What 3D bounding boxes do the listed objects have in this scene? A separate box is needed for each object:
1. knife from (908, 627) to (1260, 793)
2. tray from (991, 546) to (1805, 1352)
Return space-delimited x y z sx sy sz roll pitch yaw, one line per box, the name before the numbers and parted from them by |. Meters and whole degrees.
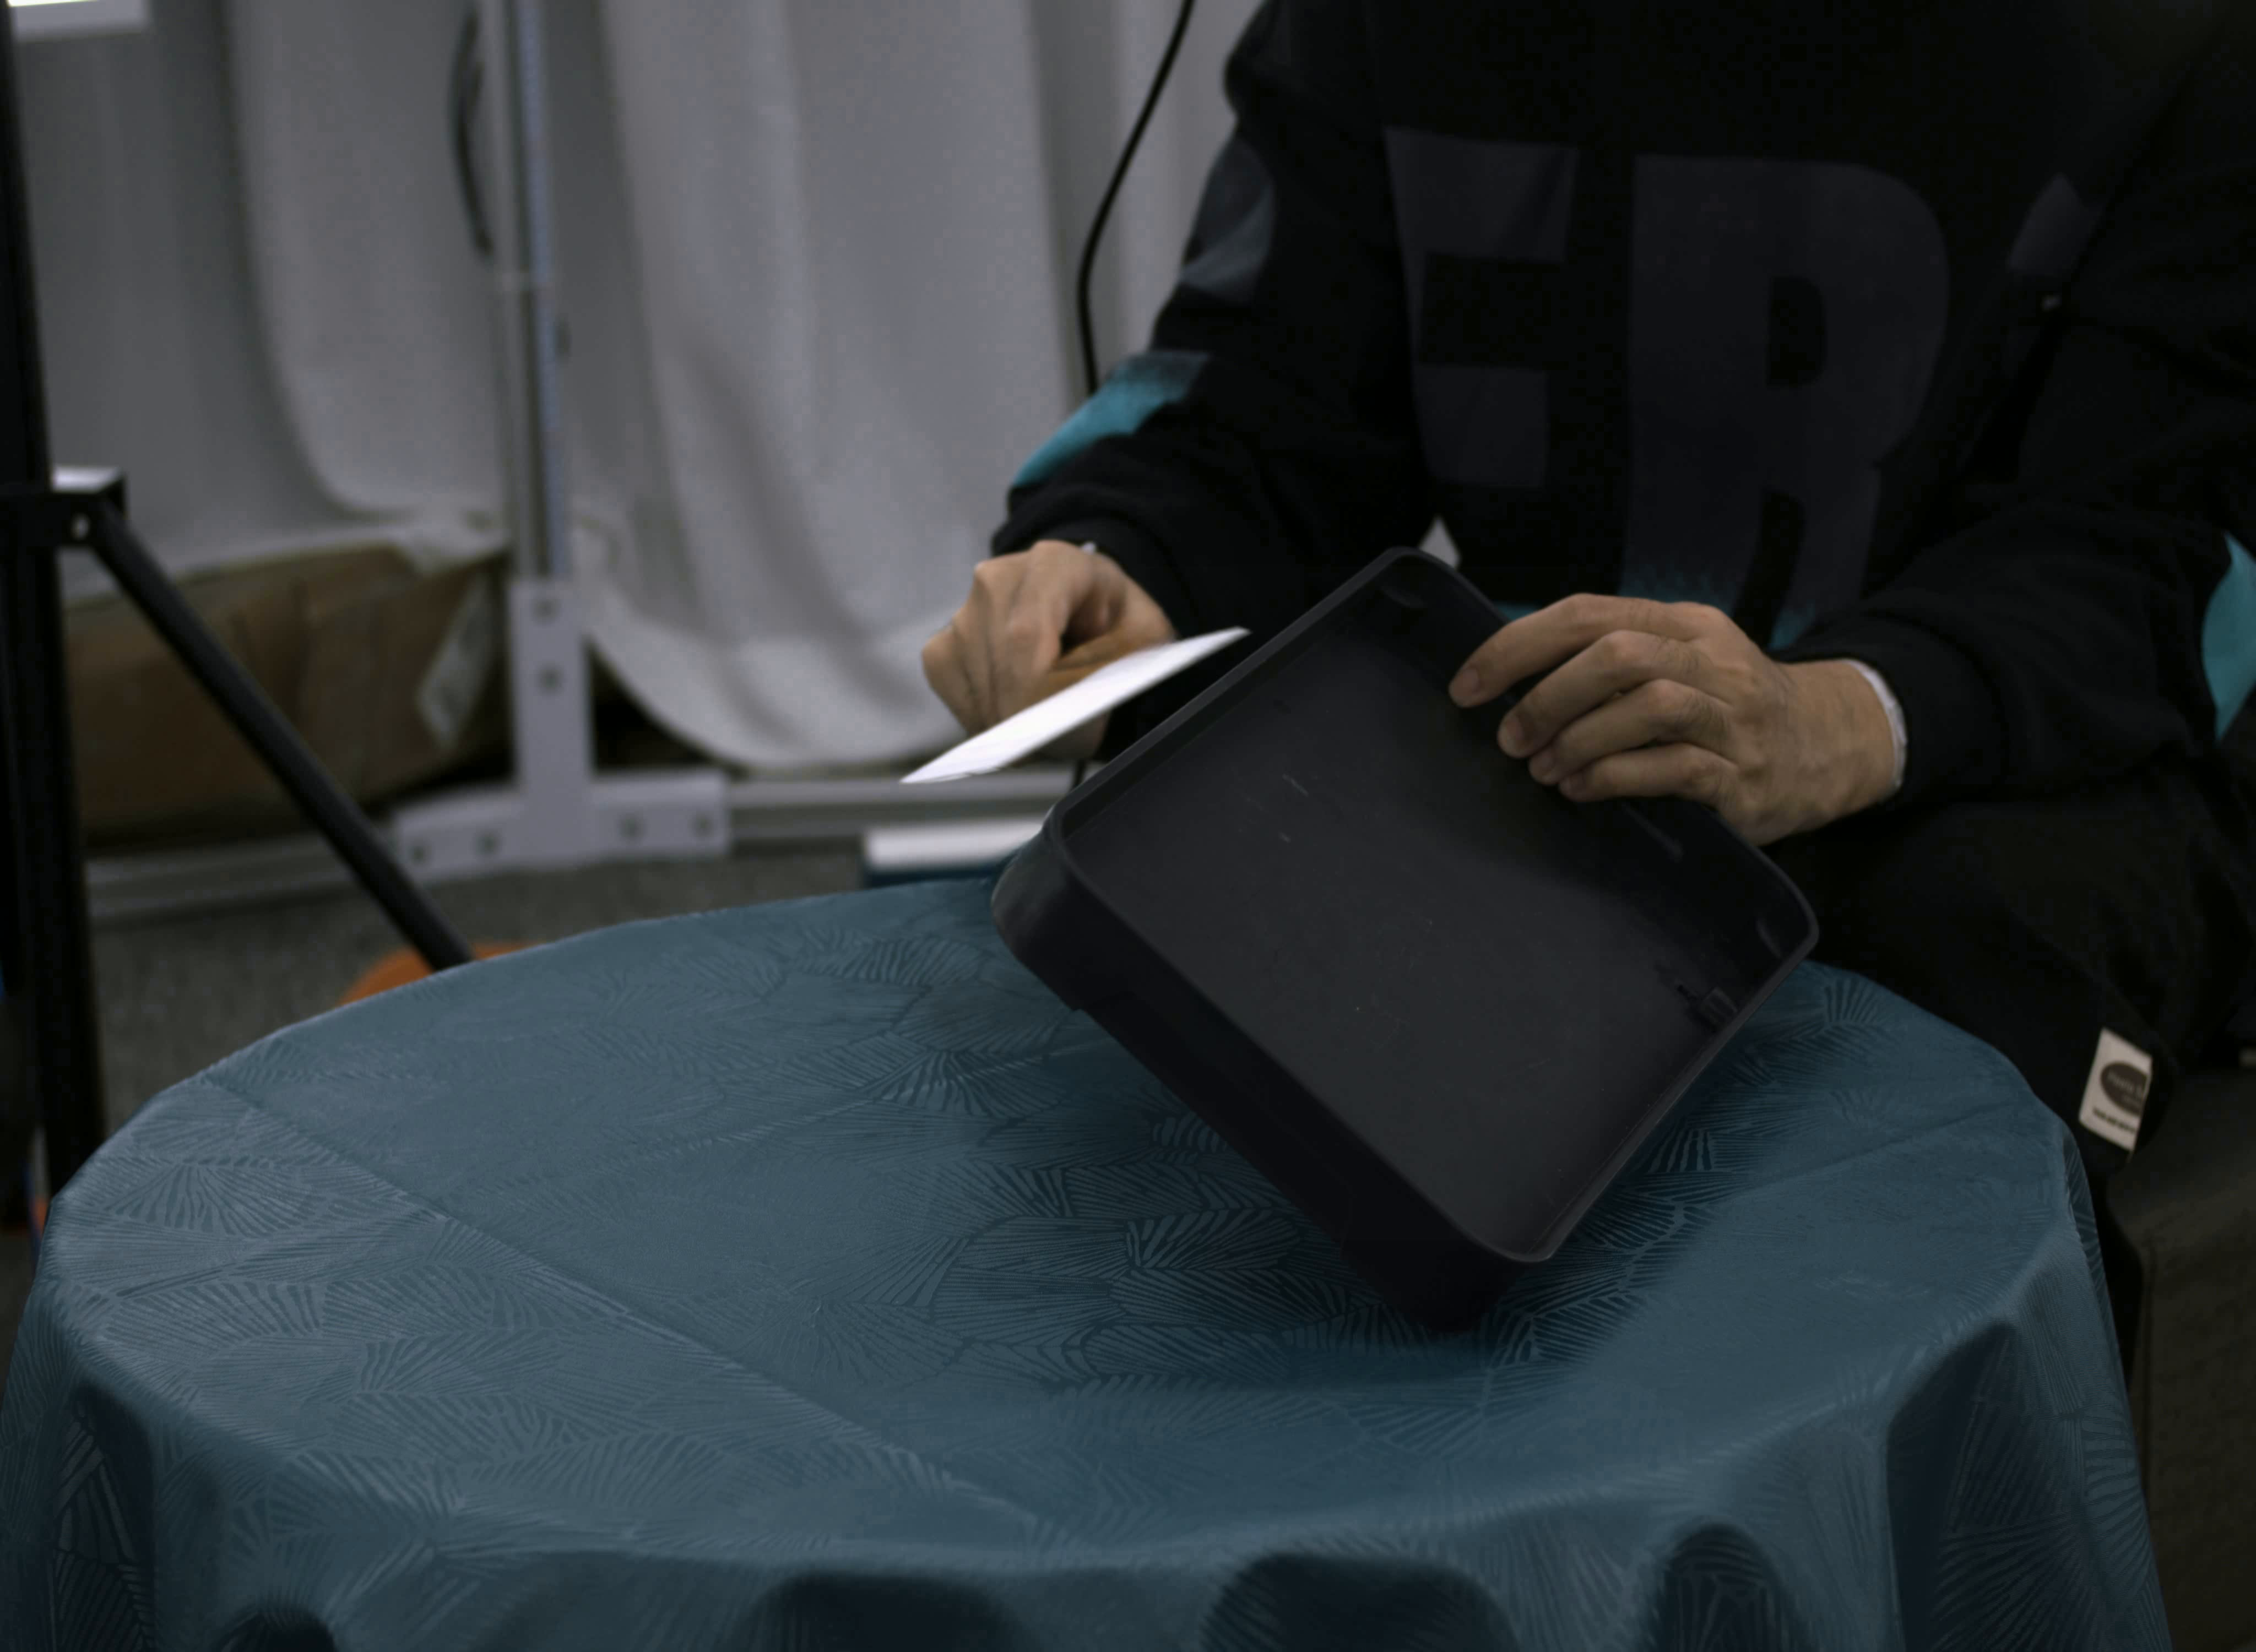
knife | -0.027 -0.036 1.748 0.092 0.021 0.308 -30 5 -11
tray | 0.086 0.028 1.552 0.185 0.037 0.314 41 28 4
